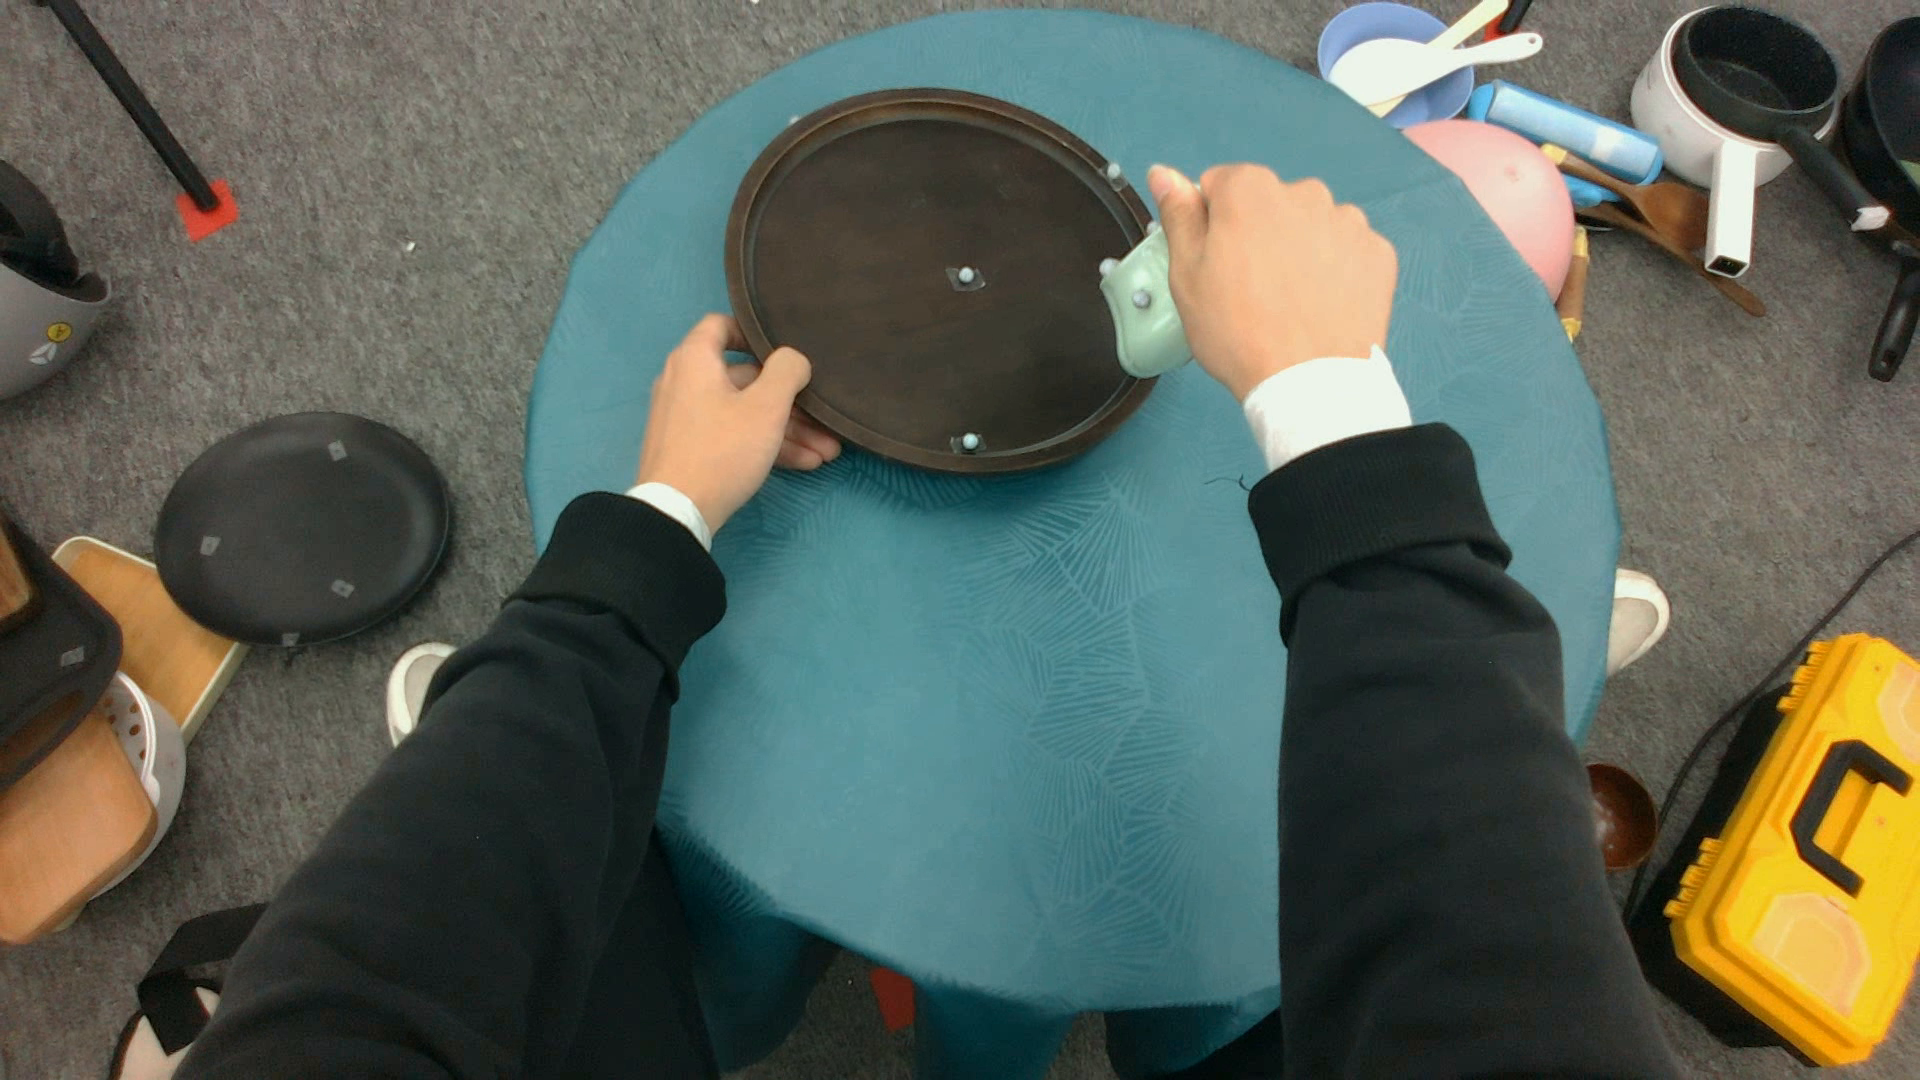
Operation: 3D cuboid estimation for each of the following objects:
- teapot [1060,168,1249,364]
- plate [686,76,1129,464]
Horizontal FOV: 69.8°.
[{"bbox_3d":[0.092,-0.132,0.664,0.096,0.136,0.061,-43,93,-17],"label":"teapot"},{"bbox_3d":[-0.023,-0.152,0.760,0.255,0.029,0.256,6,63,-12],"label":"plate"}]
